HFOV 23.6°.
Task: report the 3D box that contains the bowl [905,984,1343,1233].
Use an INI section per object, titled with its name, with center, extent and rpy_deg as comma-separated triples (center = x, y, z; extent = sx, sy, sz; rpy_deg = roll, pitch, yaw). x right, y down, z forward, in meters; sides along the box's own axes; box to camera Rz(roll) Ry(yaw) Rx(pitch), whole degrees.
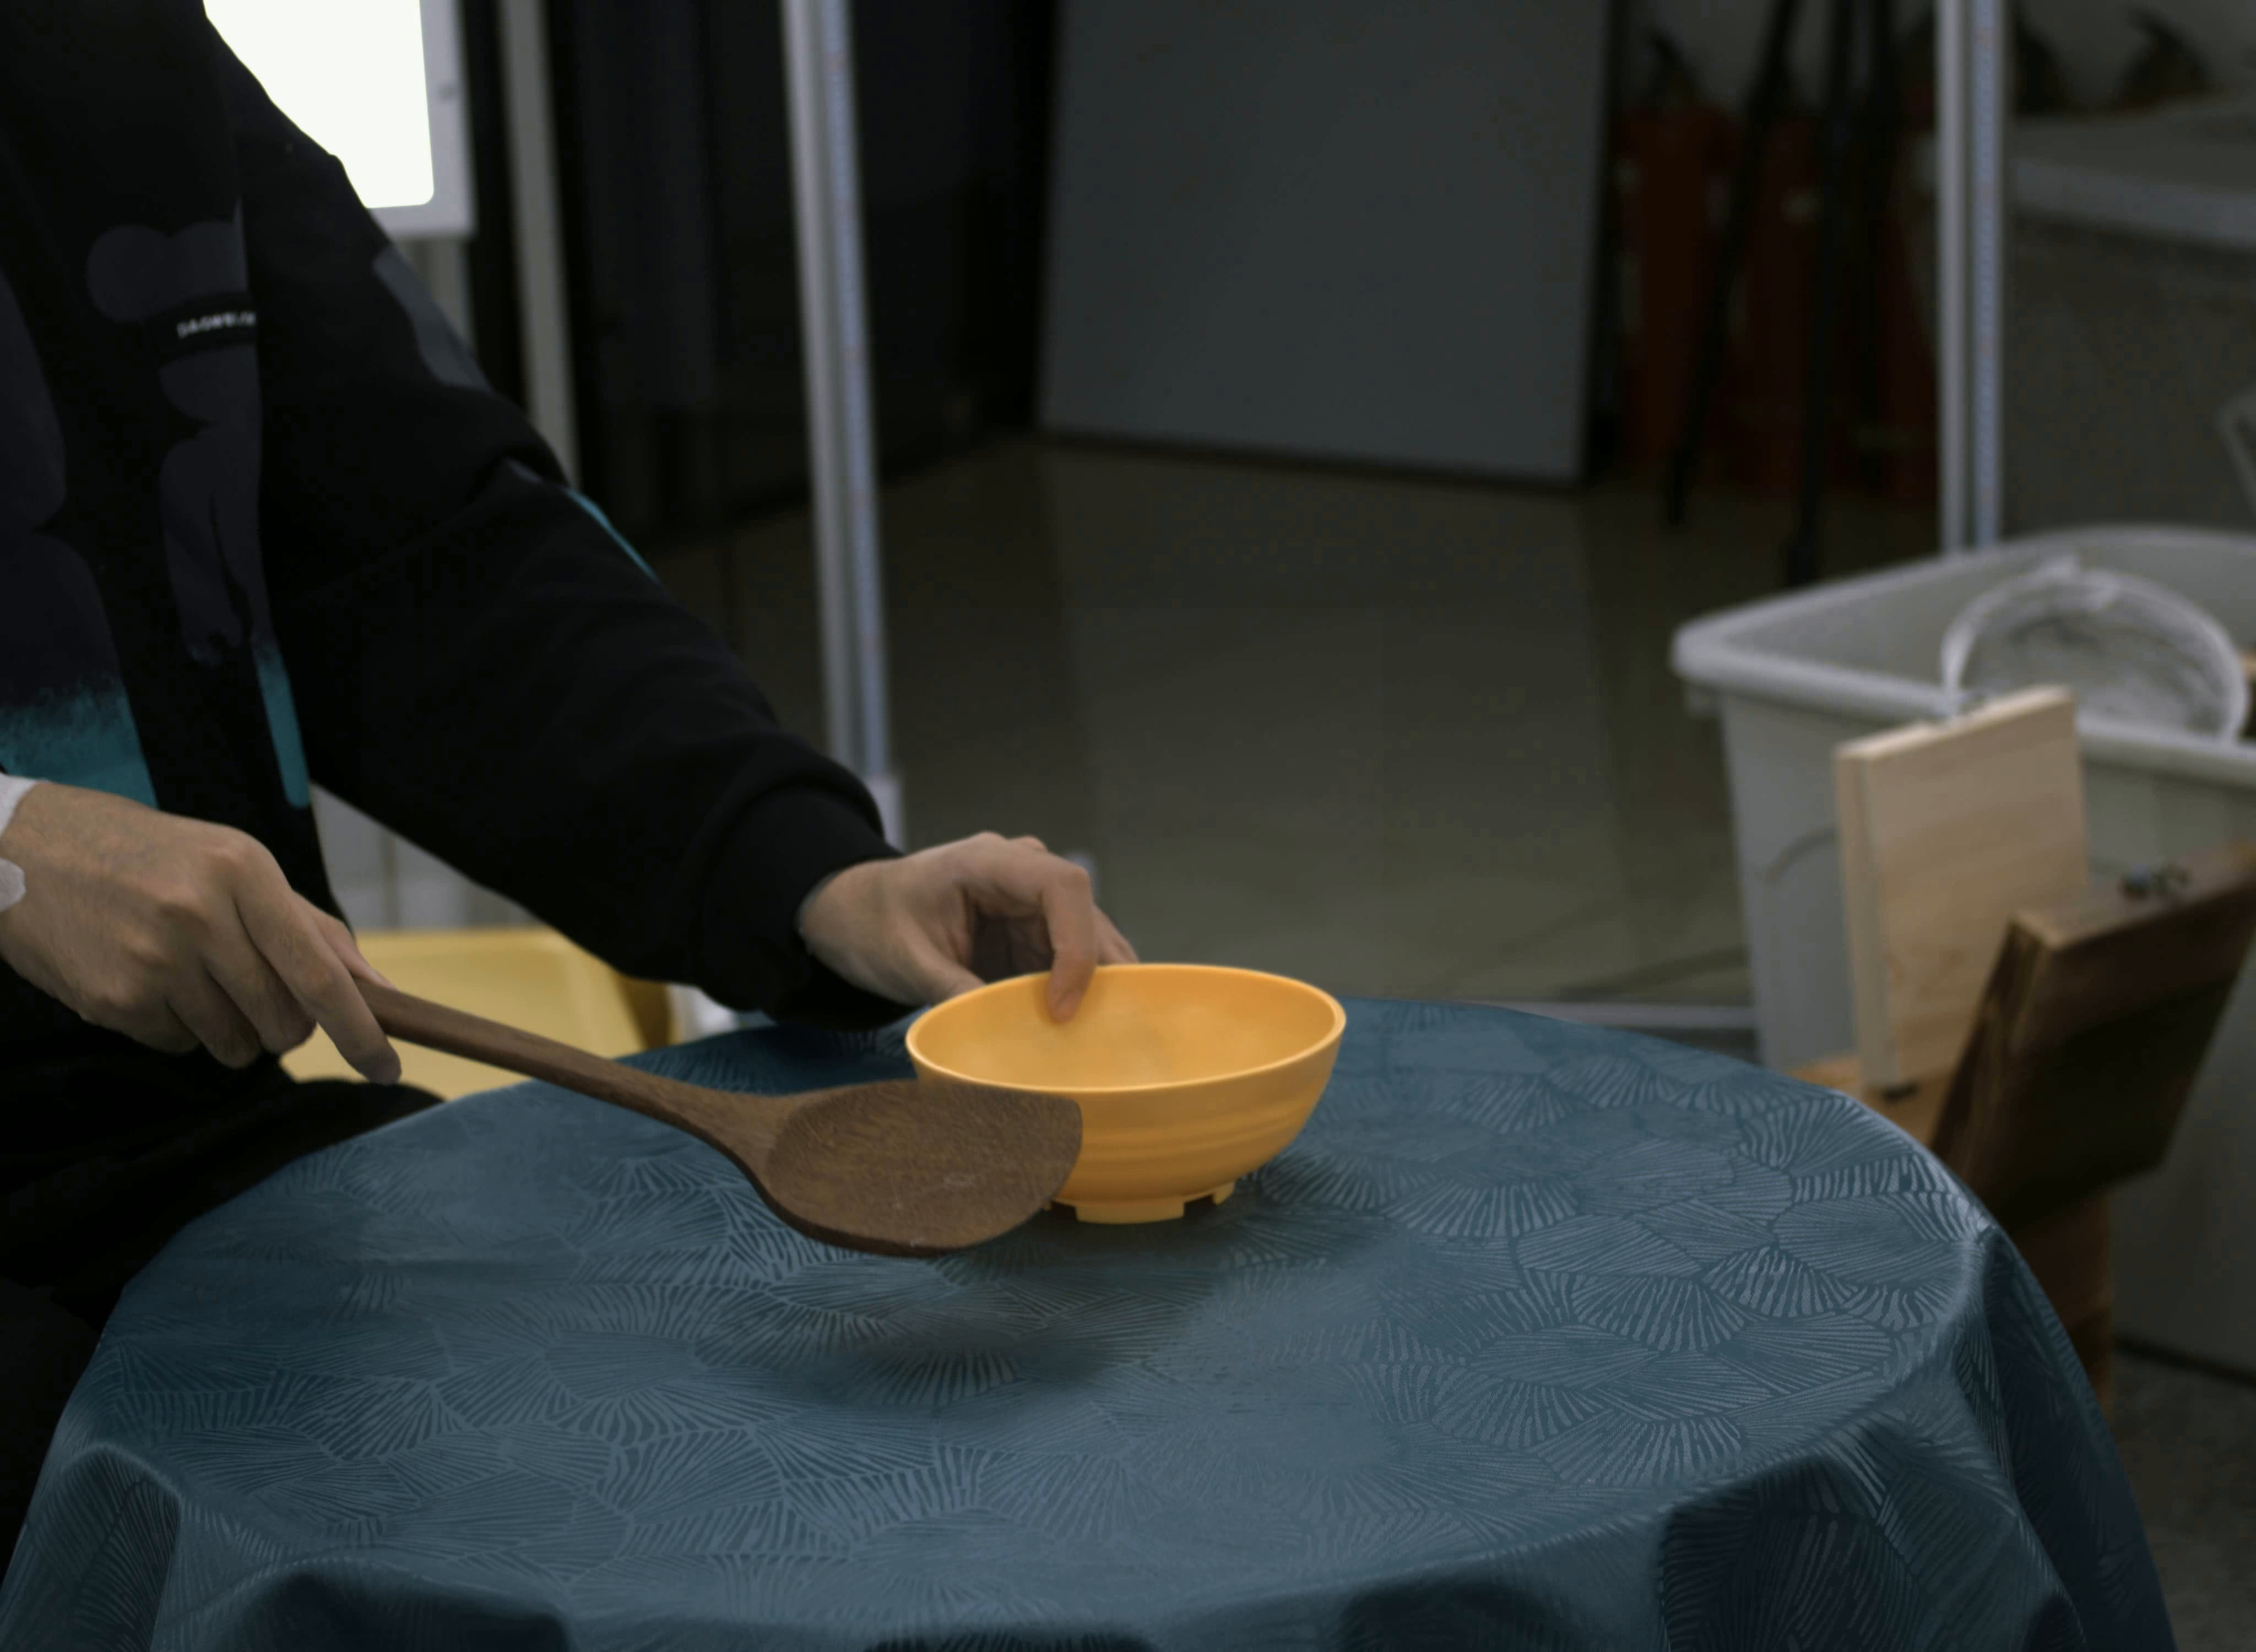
[bowl]
center = 0.000, 0.096, 1.760
extent = 0.143, 0.061, 0.145
rpy_deg = -3, 11, 0

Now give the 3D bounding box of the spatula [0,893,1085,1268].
[spatula]
center = -0.195, 0.072, 1.684
extent = 0.386, 0.016, 0.095
rpy_deg = 14, 33, 21
